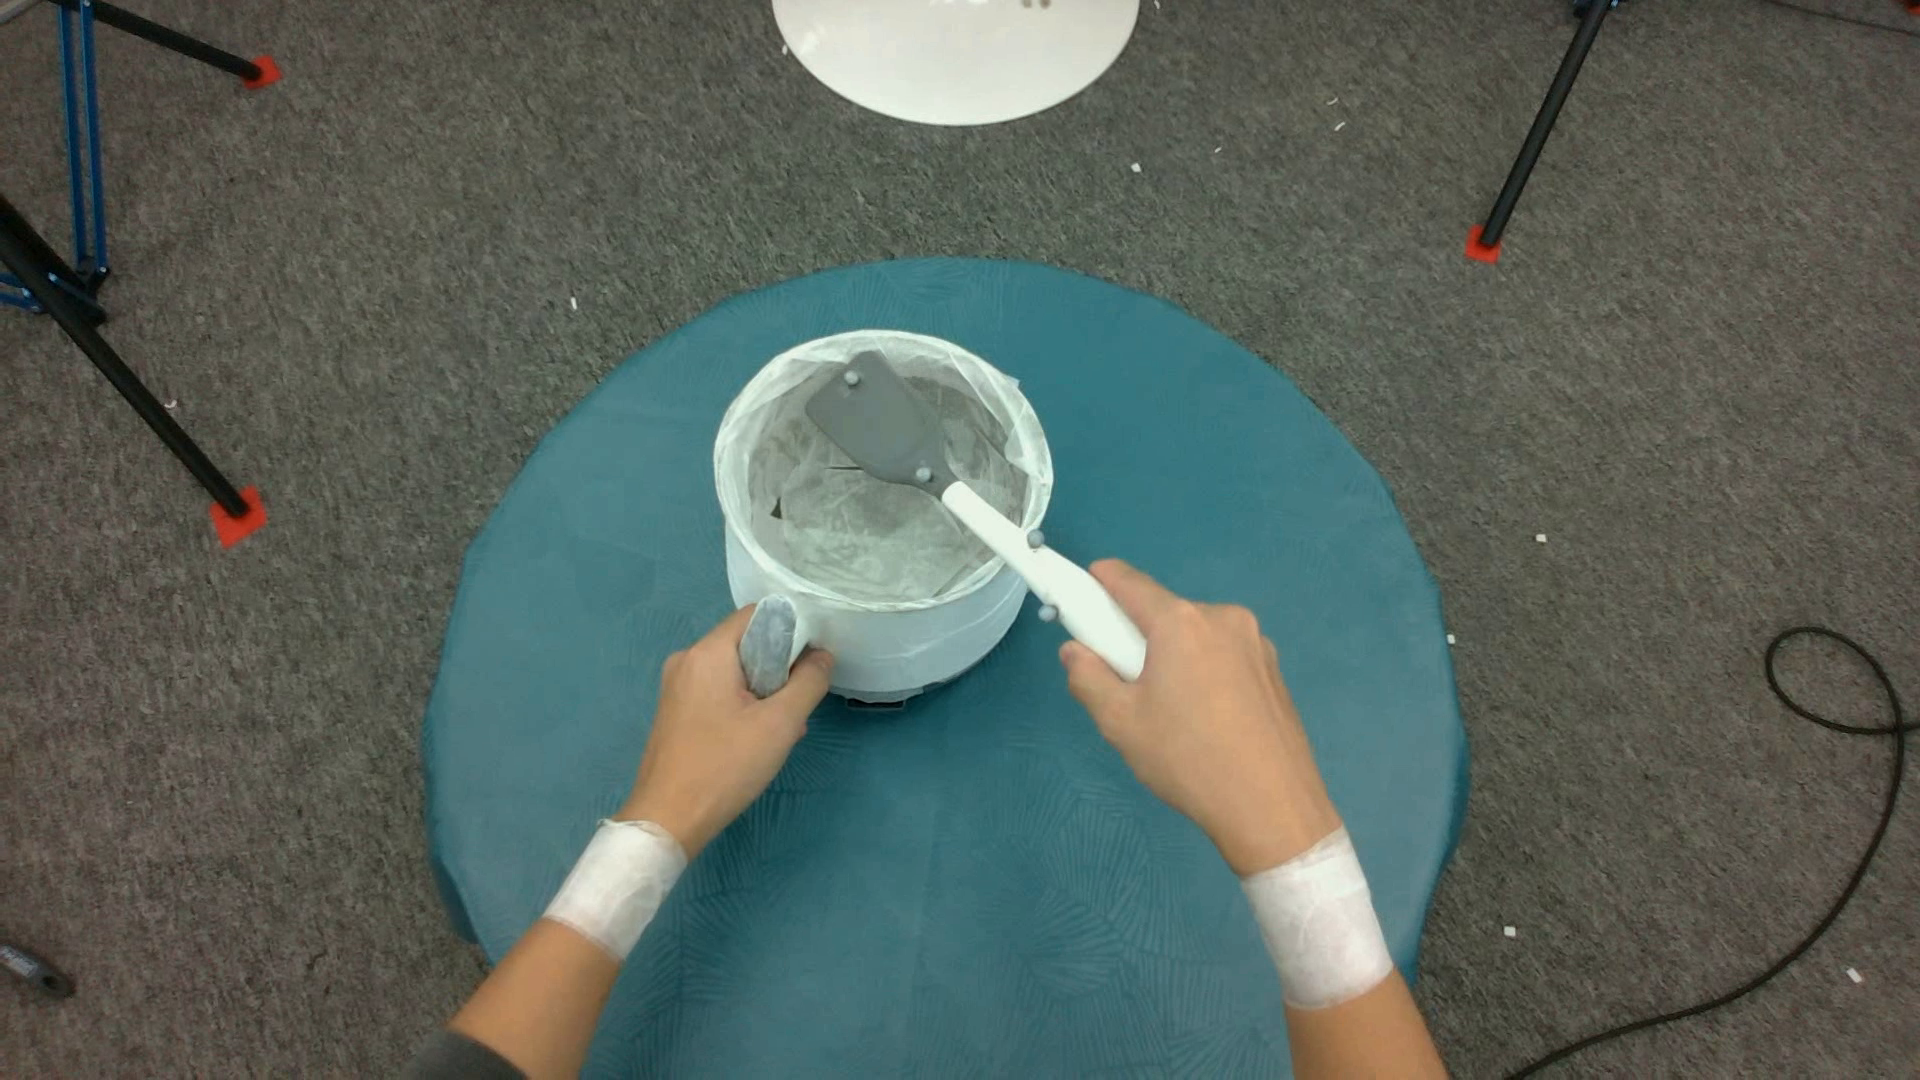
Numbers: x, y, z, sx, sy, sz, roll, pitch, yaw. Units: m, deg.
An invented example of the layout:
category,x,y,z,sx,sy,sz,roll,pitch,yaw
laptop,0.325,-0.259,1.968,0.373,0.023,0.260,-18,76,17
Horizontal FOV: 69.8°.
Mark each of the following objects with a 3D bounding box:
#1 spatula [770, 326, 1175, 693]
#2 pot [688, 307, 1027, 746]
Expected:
category,x,y,z,sx,sy,sz,roll,pitch,yaw
spatula,-0.002,-0.022,0.683,0.059,0.032,0.288,-46,52,-2
pot,-0.071,0.001,0.758,0.178,0.136,0.235,27,61,9
